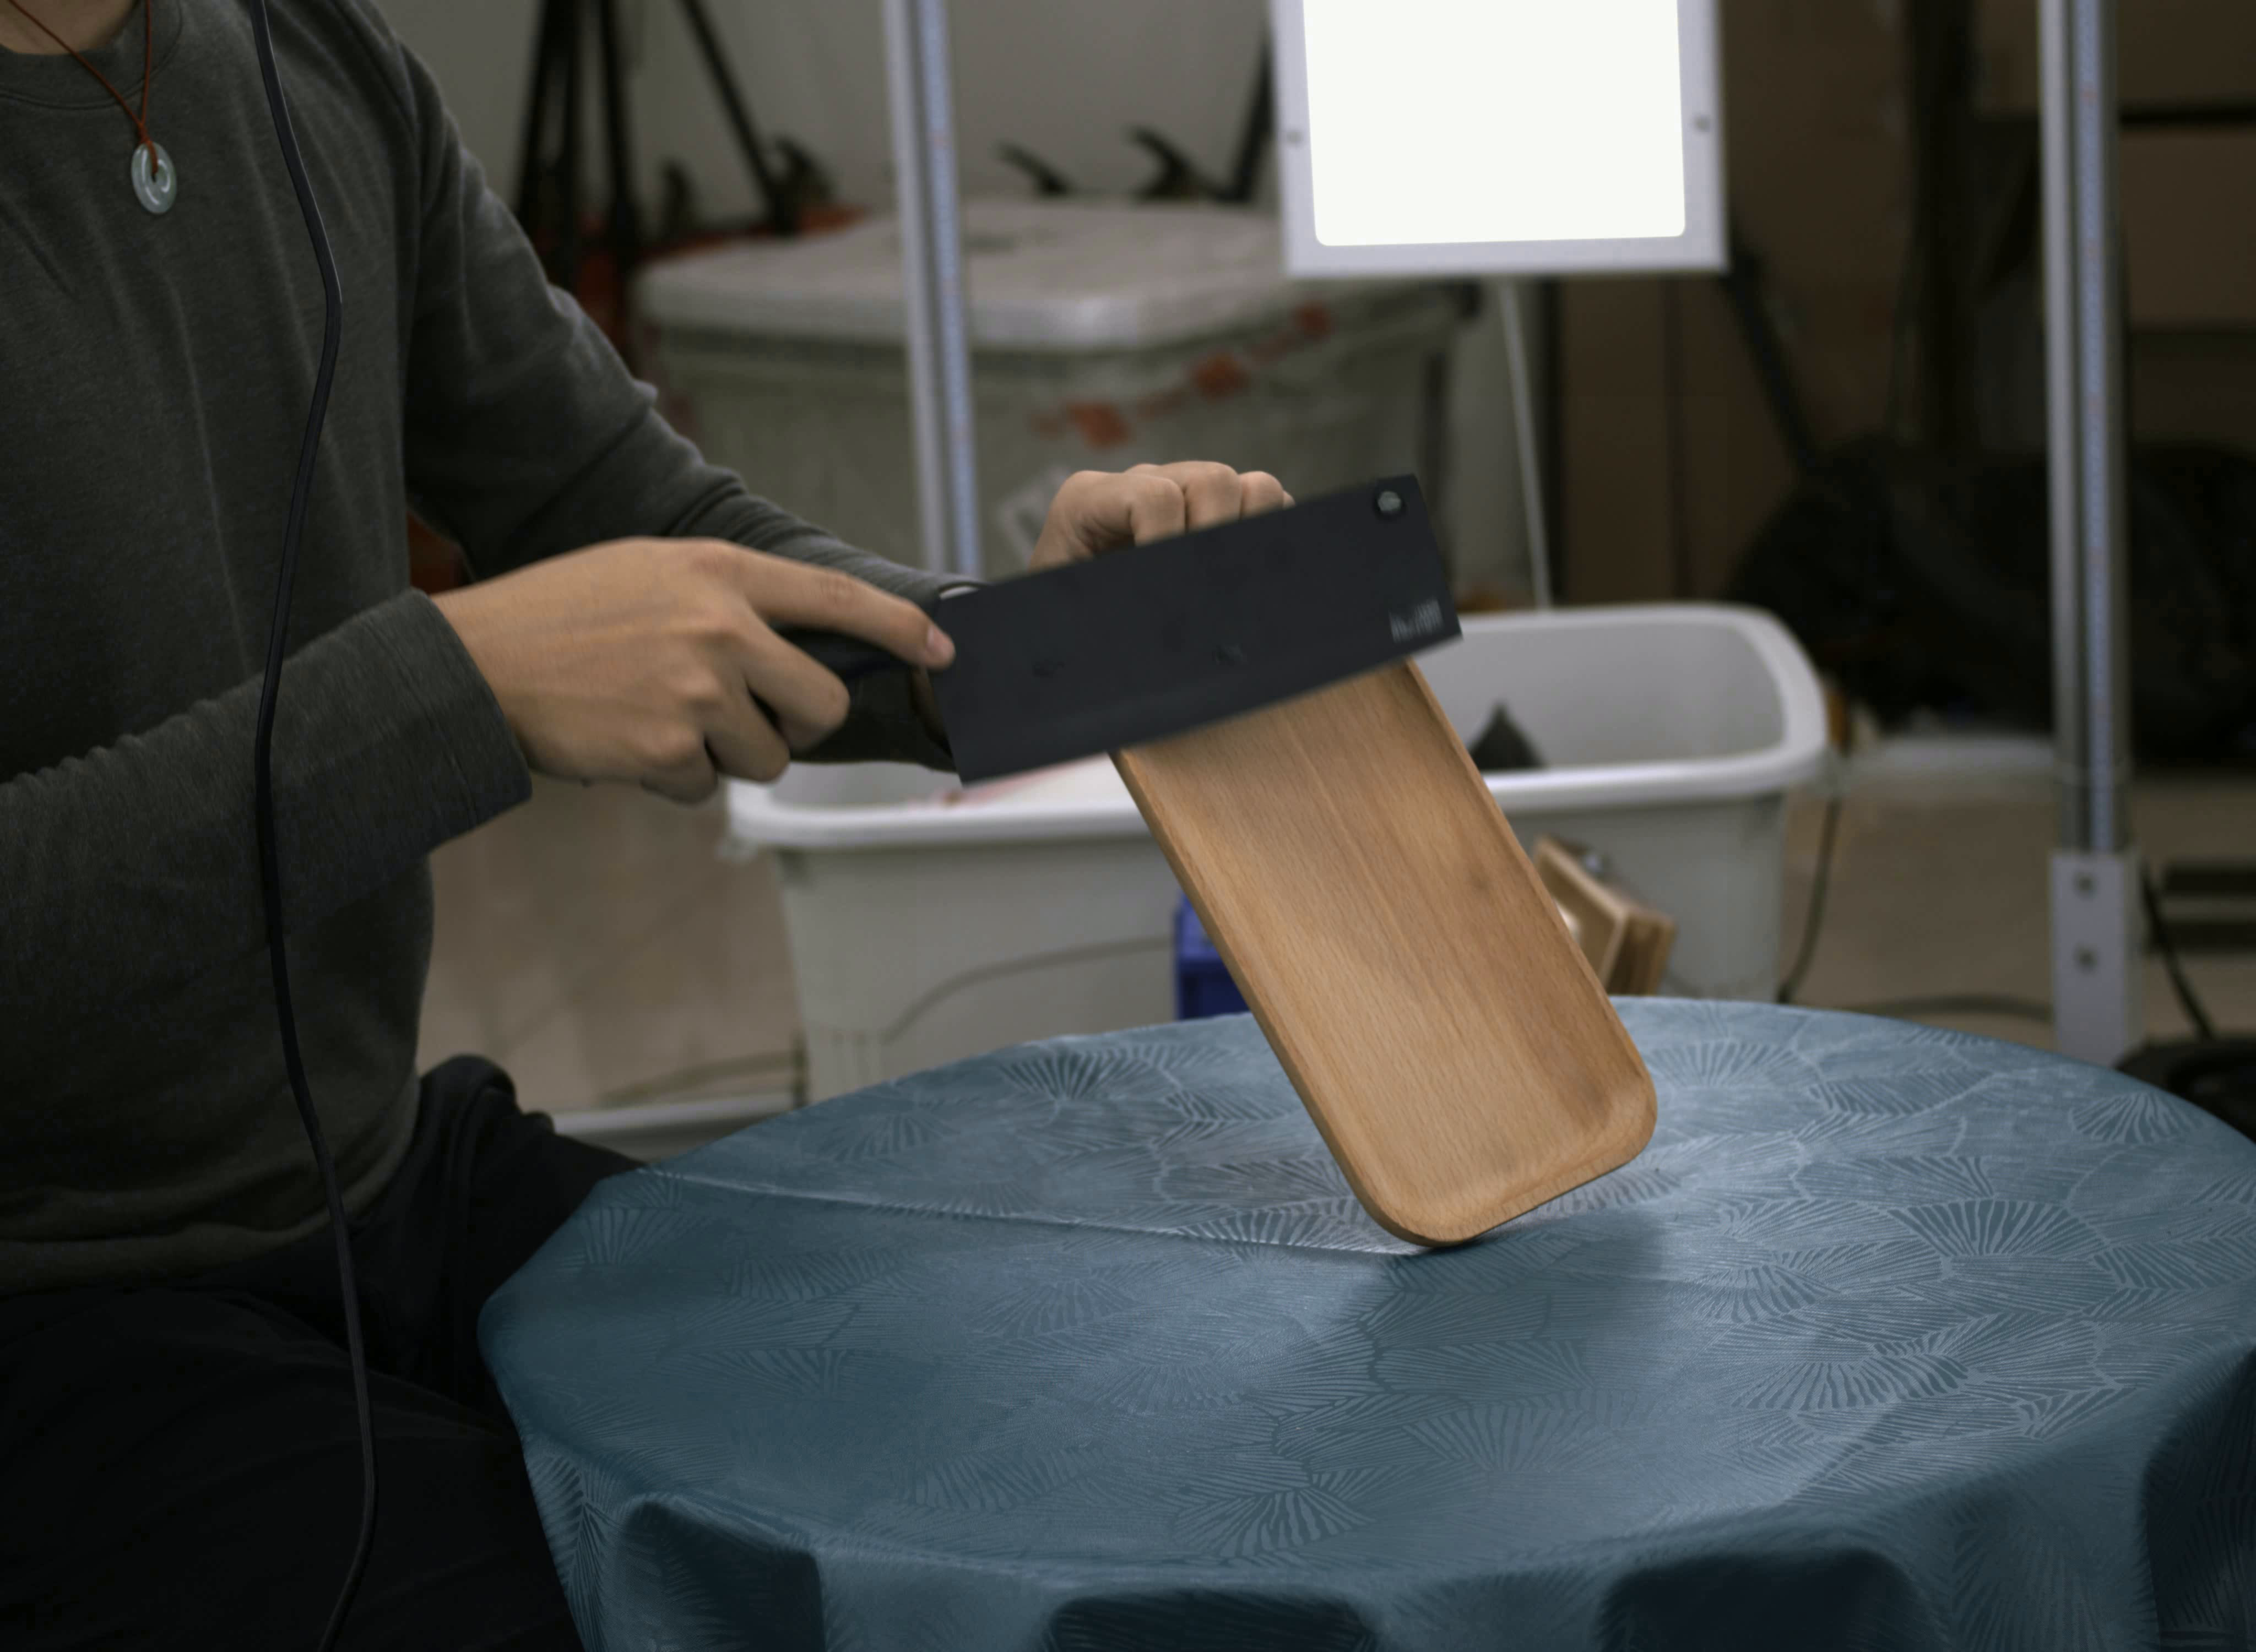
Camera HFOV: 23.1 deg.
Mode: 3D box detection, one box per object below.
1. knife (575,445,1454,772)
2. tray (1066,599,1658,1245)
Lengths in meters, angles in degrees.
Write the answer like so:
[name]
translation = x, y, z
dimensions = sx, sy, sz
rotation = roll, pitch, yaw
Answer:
[knife]
translation = -0.038, -0.062, 1.838
dimensions = 0.300, 0.081, 0.021
rotation = -12, -6, -7
[tray]
translation = 0.078, 0.019, 1.859
dimensions = 0.127, 0.252, 0.023
rotation = -20, -16, -33
